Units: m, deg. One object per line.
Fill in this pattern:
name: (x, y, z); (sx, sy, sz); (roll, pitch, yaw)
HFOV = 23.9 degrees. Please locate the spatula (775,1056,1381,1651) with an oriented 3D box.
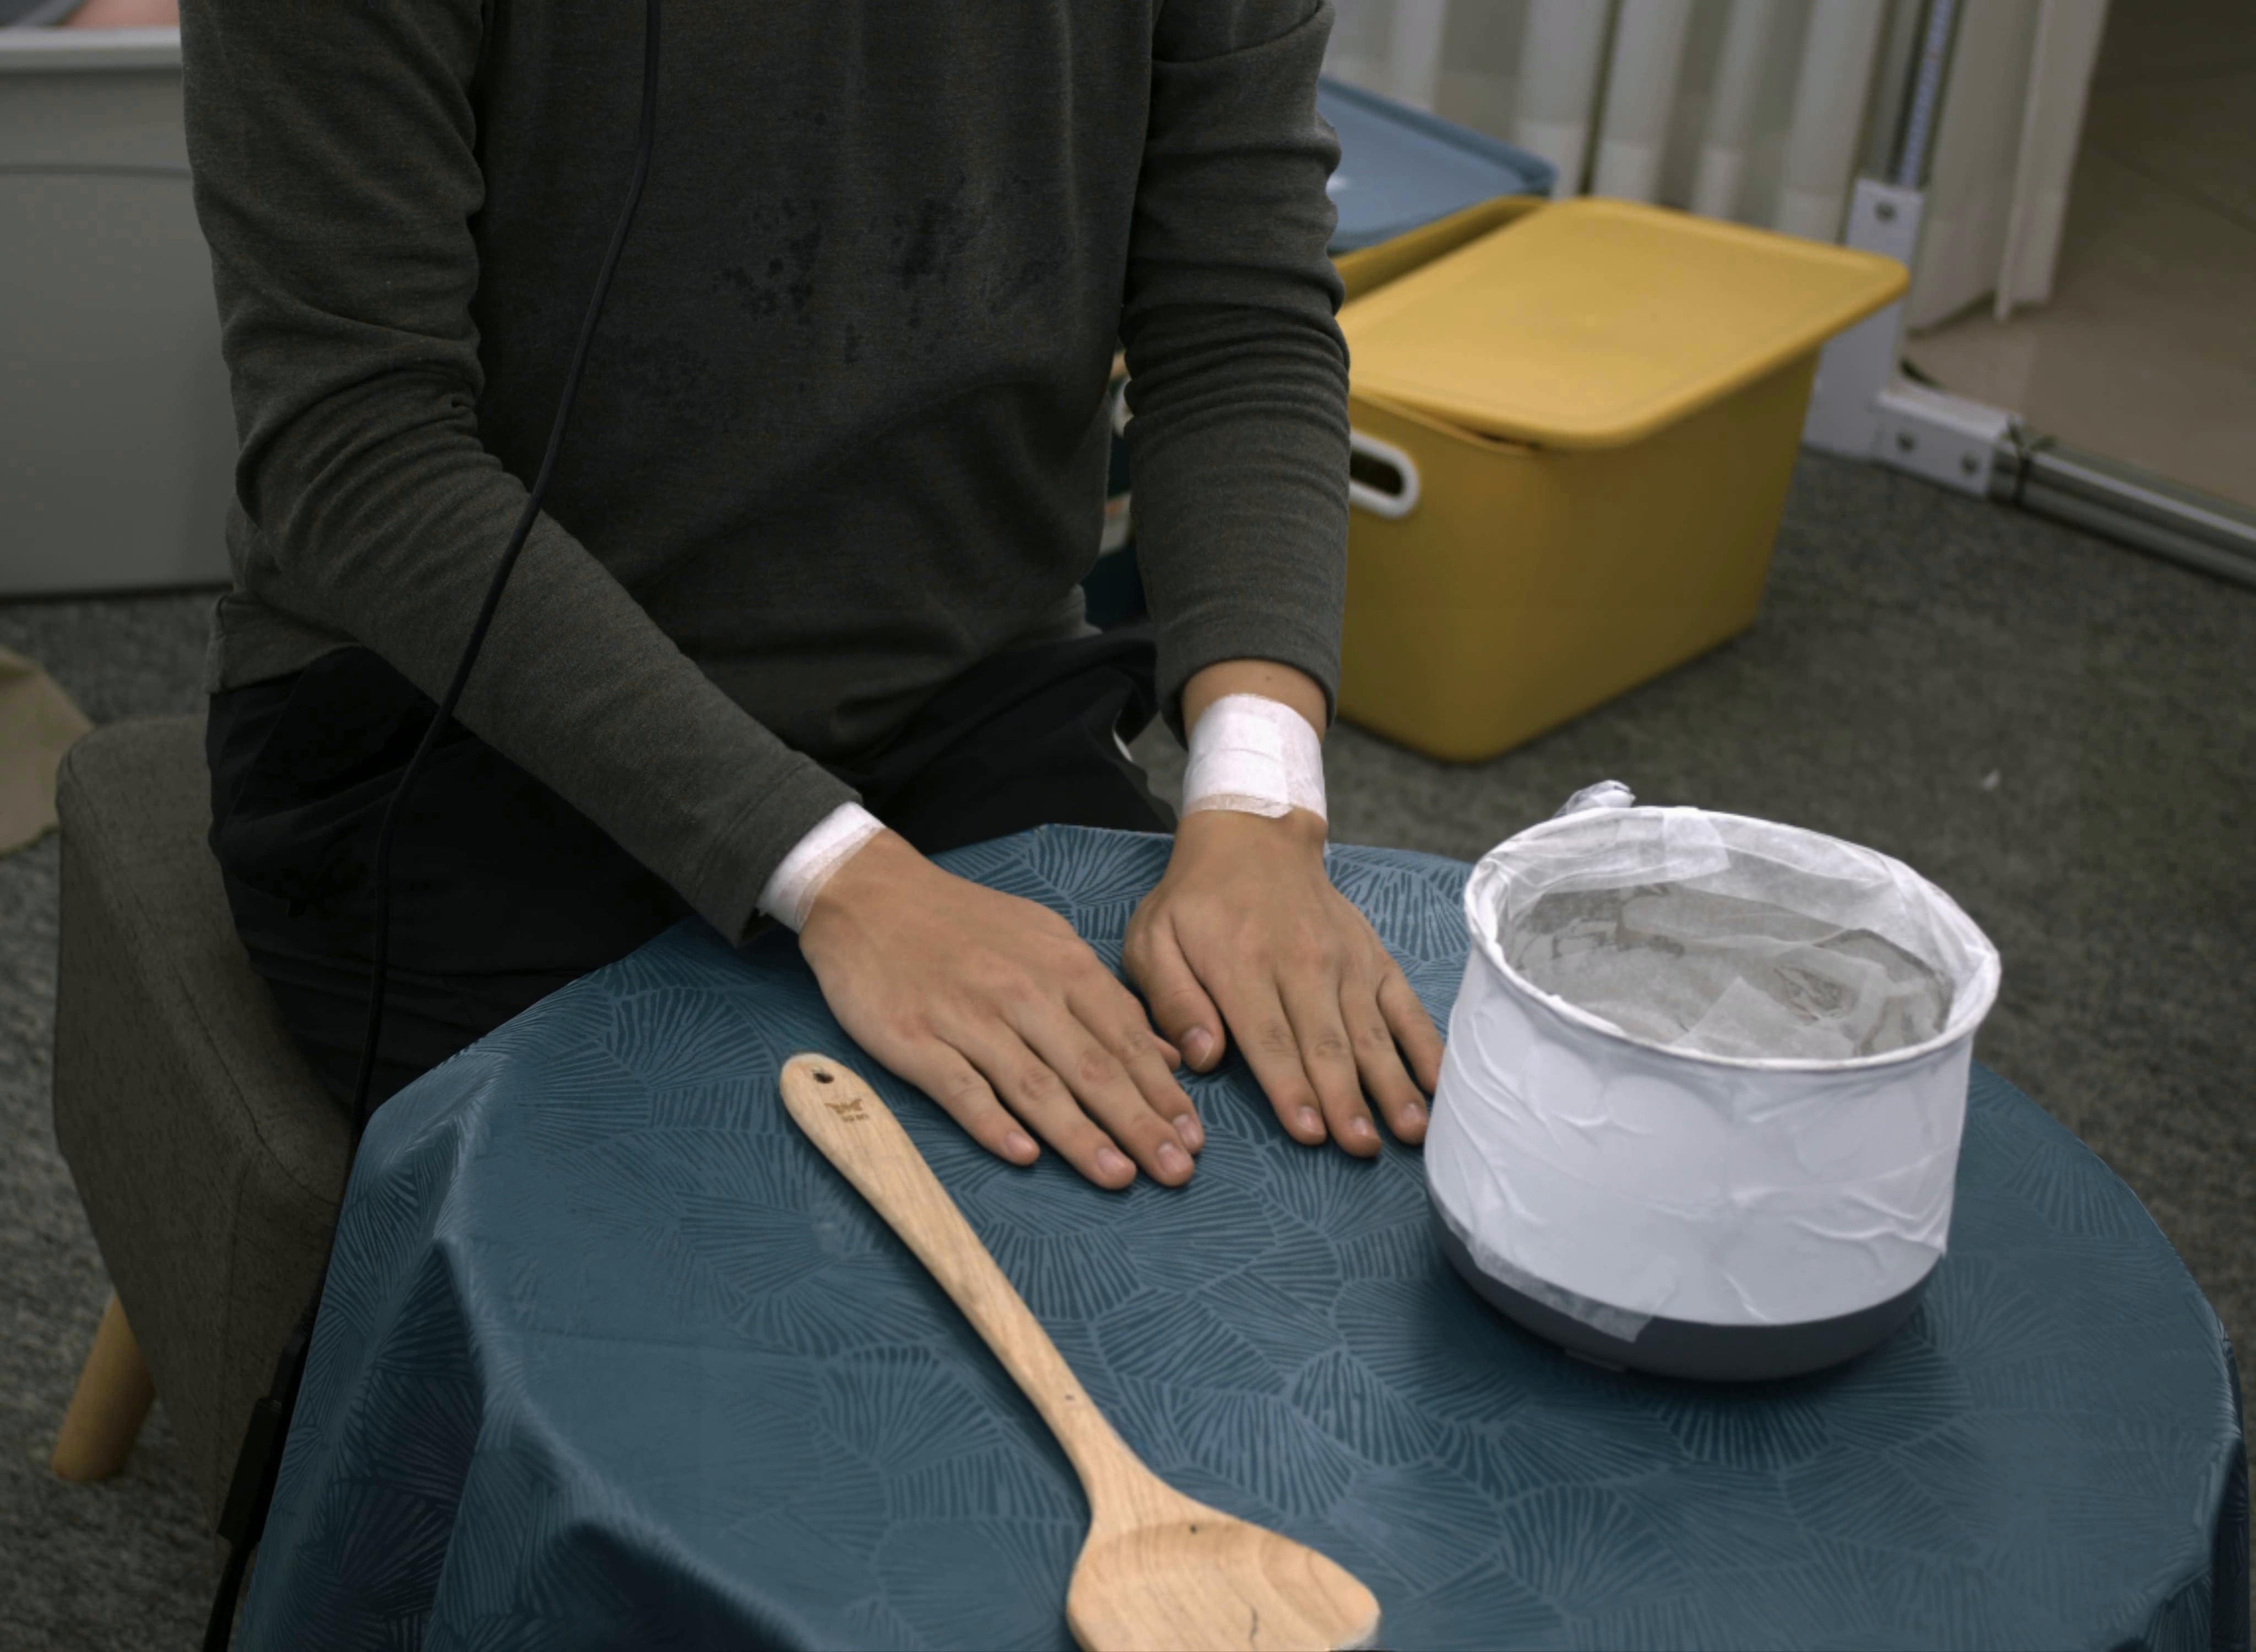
spatula: (-0.039, 0.167, 1.691); (0.095, 0.018, 0.394); (-5, 29, -25)

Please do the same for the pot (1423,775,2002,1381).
pot: (0.180, 0.077, 1.786); (0.177, 0.136, 0.236); (-4, 28, -20)
